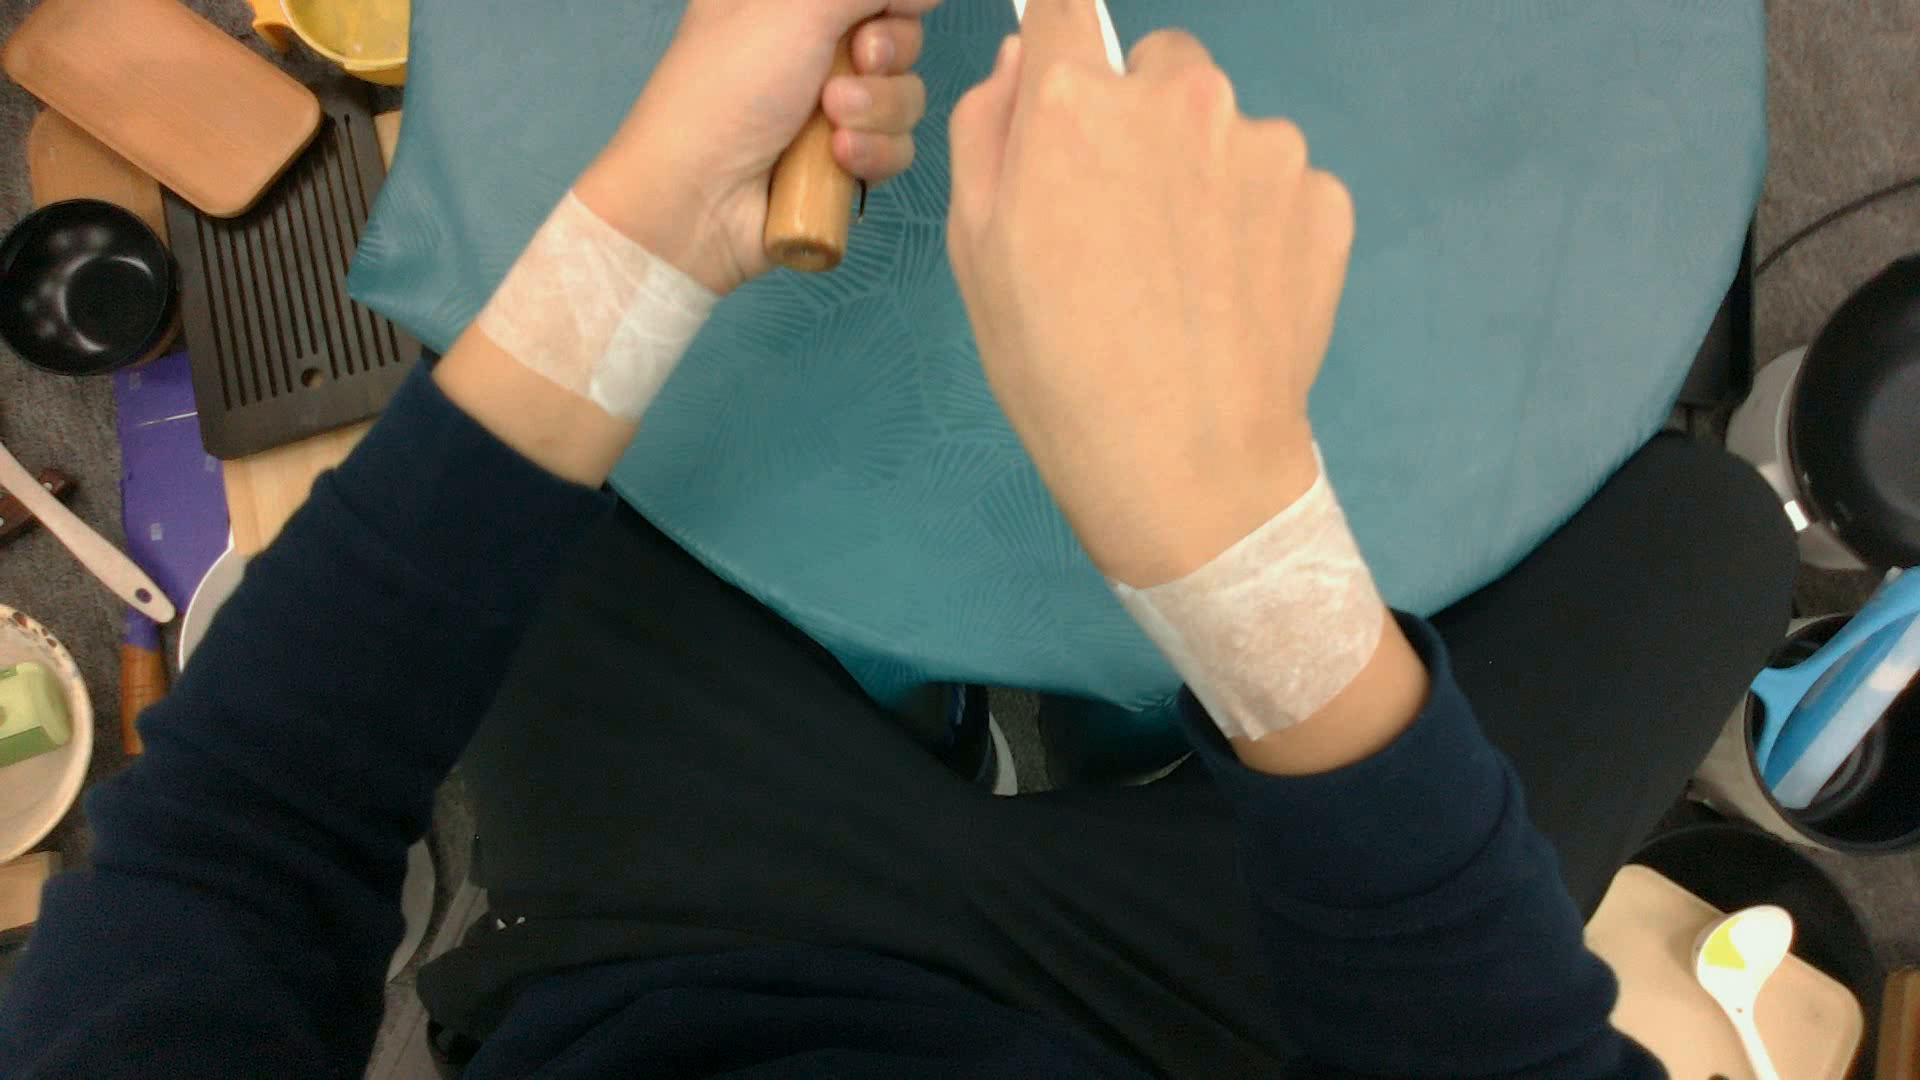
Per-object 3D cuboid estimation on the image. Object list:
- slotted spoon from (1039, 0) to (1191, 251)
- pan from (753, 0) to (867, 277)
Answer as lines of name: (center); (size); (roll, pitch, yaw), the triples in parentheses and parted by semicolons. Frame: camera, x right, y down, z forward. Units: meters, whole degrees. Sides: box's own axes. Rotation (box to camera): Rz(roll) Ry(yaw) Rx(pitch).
slotted spoon: (0.003, -0.214, 0.421); (0.137, 0.050, 0.349); (-3, 48, -19)
pan: (-0.036, -0.251, 0.480); (0.207, 0.108, 0.343); (8, 87, -14)
